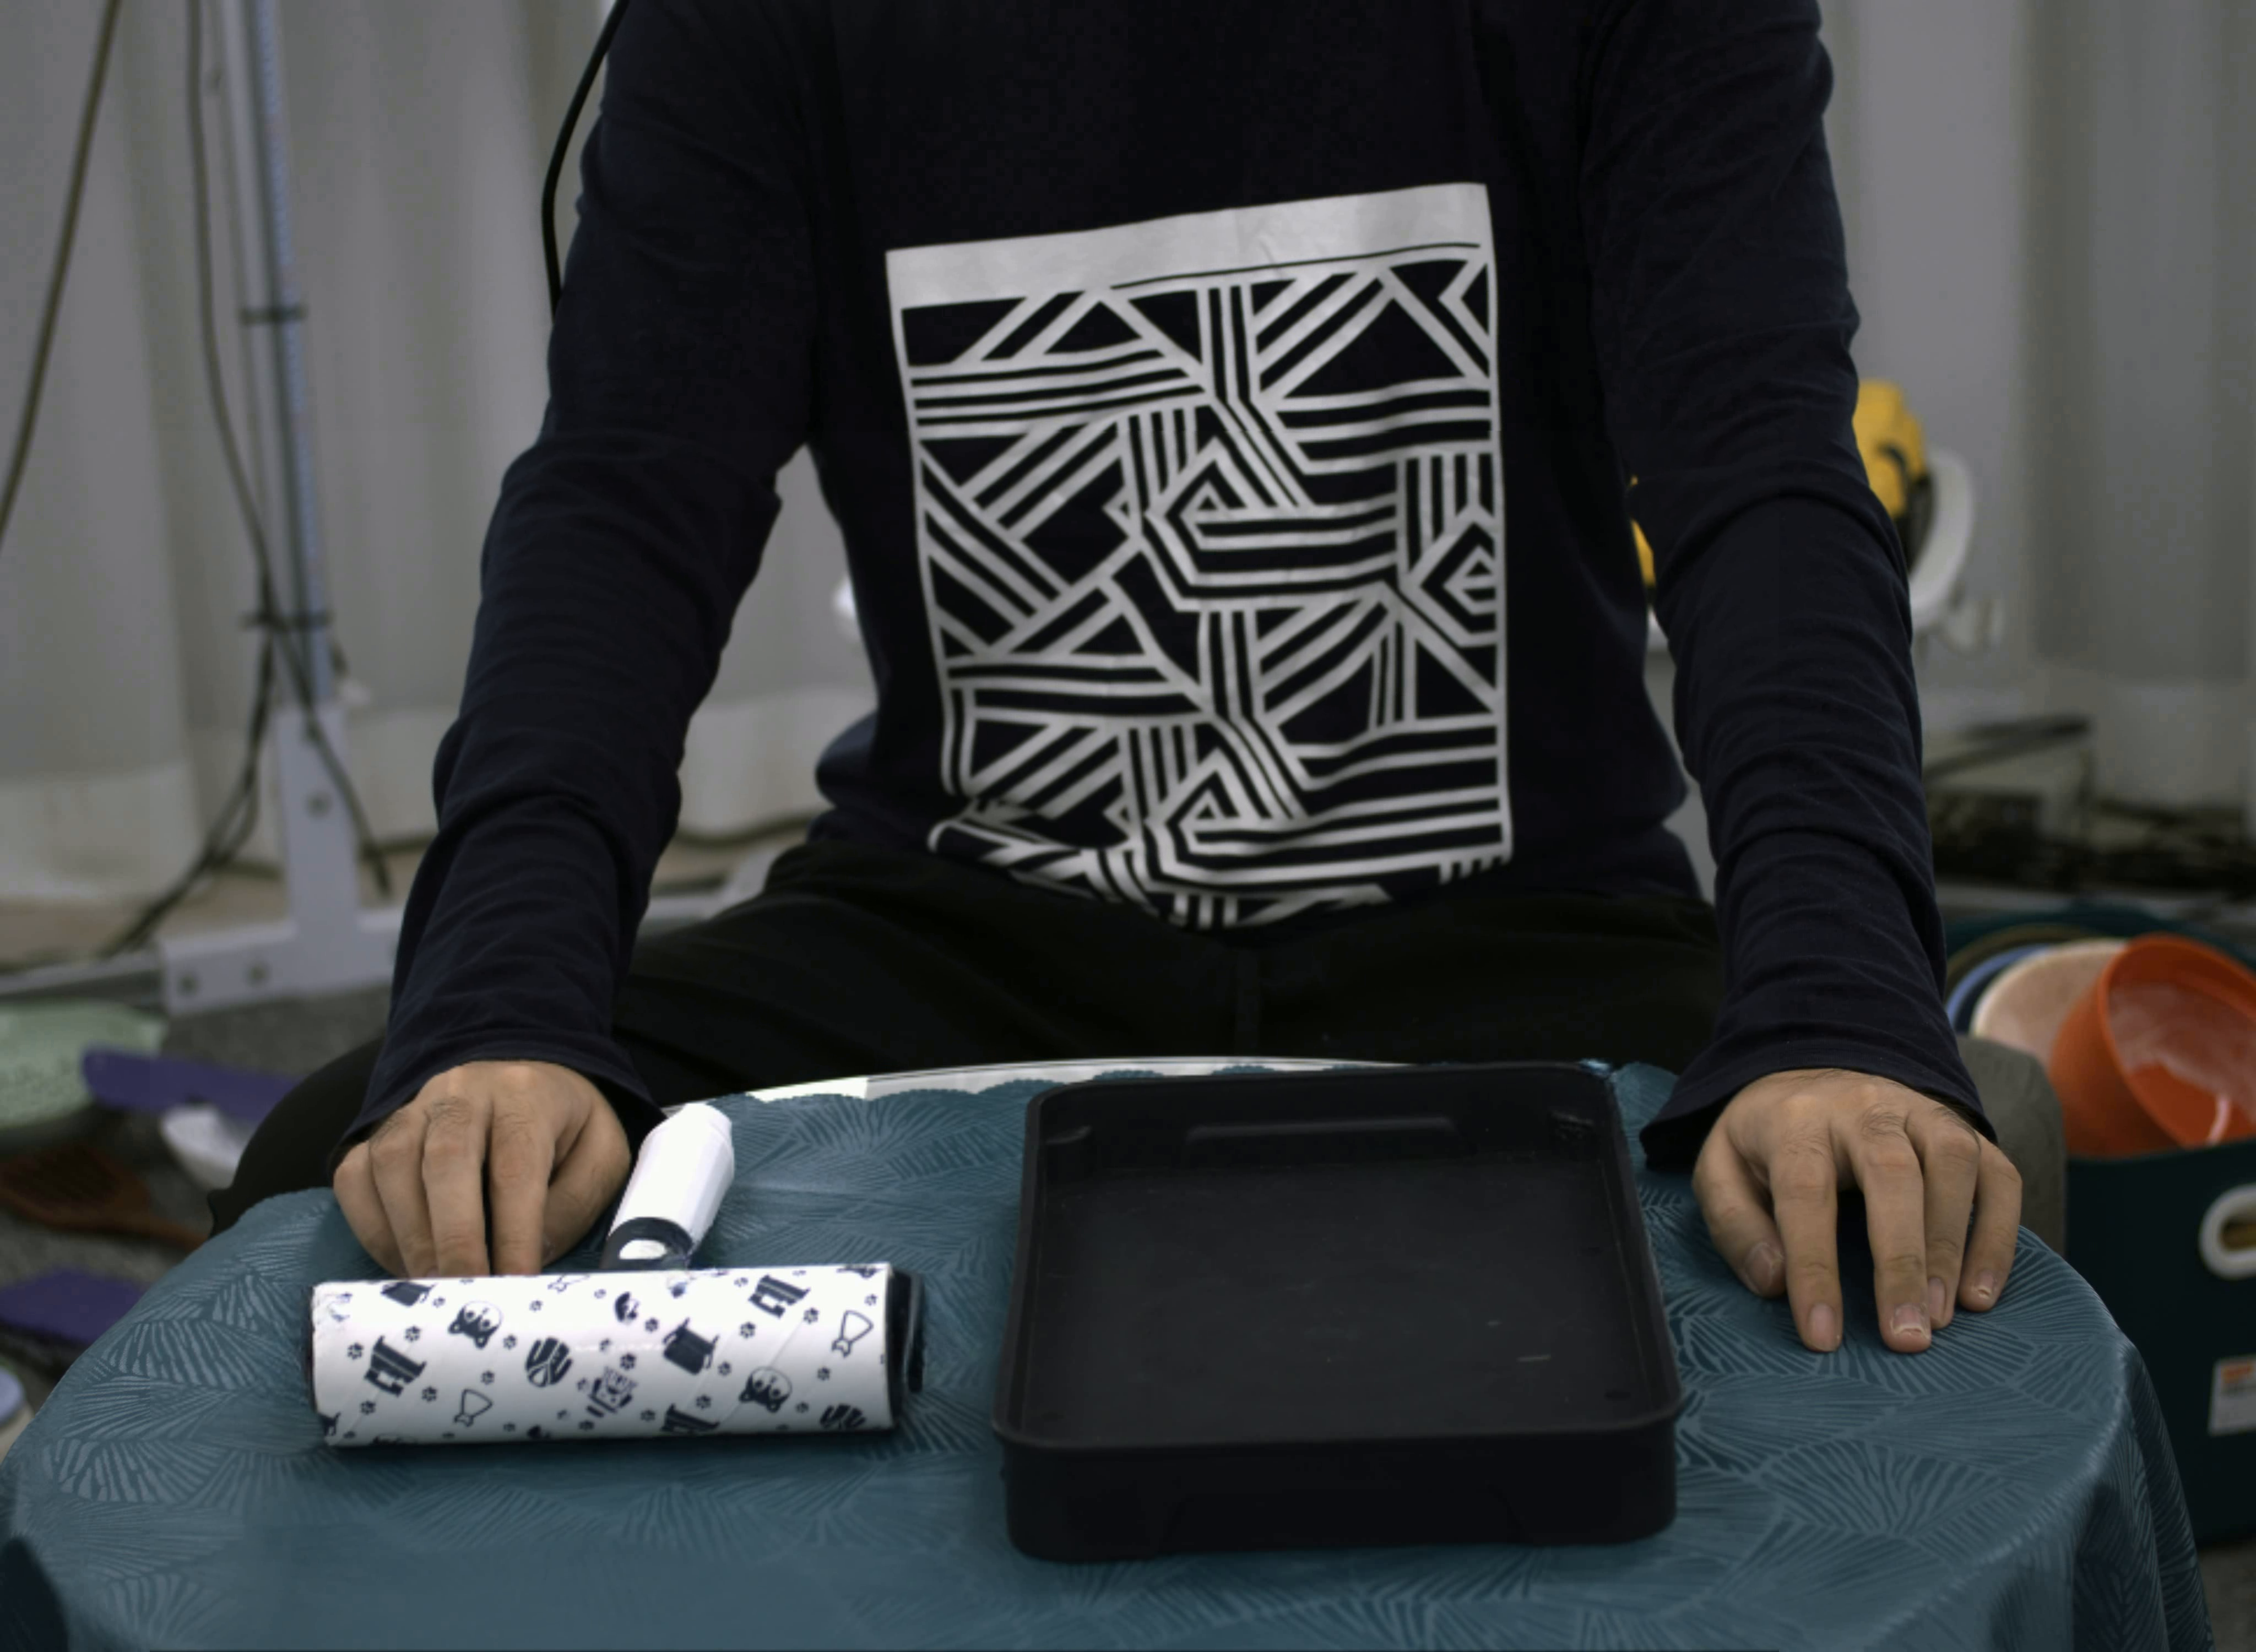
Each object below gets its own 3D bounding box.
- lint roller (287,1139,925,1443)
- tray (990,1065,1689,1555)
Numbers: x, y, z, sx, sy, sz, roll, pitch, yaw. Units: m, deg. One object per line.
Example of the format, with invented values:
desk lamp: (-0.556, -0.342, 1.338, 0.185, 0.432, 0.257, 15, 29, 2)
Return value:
lint roller: (-0.143, 0.126, 1.626, 0.176, 0.050, 0.248, -3, 12, 2)
tray: (0.059, 0.133, 1.567, 0.184, 0.037, 0.320, -2, 14, 2)
